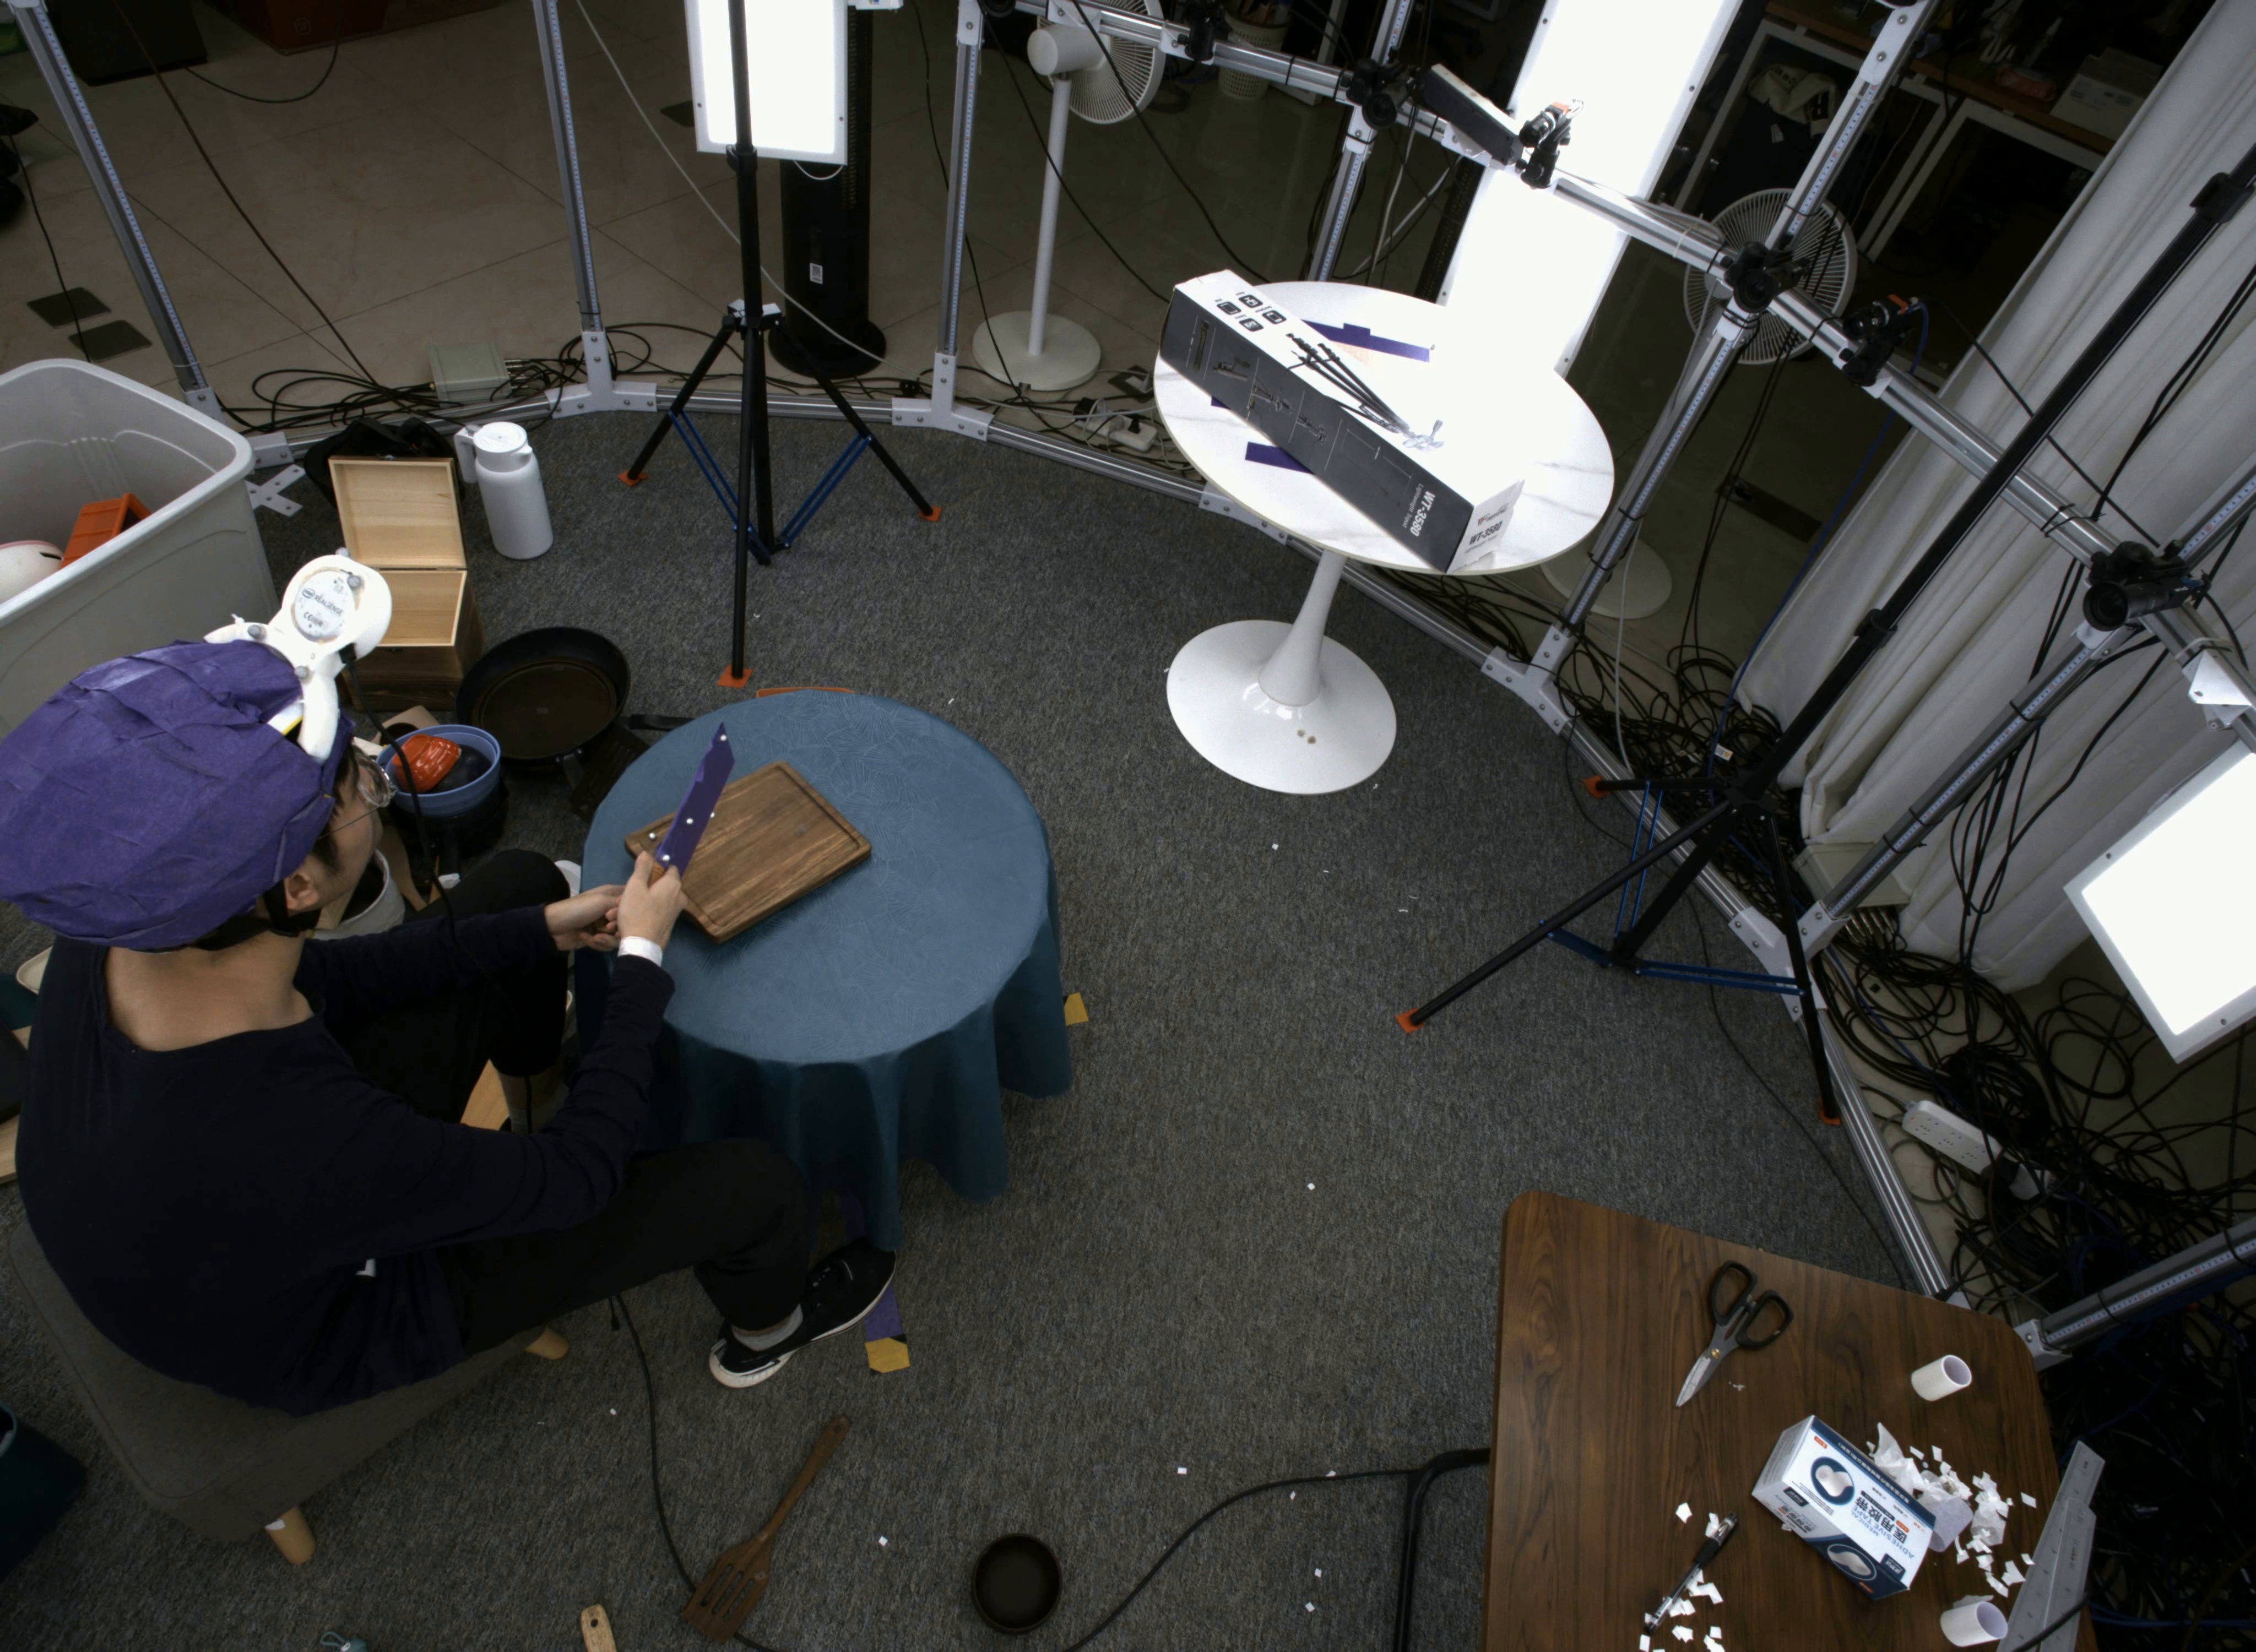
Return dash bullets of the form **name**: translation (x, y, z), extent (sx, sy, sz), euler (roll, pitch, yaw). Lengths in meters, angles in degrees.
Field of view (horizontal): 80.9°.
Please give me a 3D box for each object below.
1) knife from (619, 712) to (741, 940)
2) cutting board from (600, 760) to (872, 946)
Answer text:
- **knife**: translation (-0.534, 0.011, 1.564), extent (0.032, 0.106, 0.312), euler (12, 57, 6)
- **cutting board**: translation (-0.519, 0.048, 1.641), extent (0.197, 0.023, 0.353), euler (42, 50, 17)
